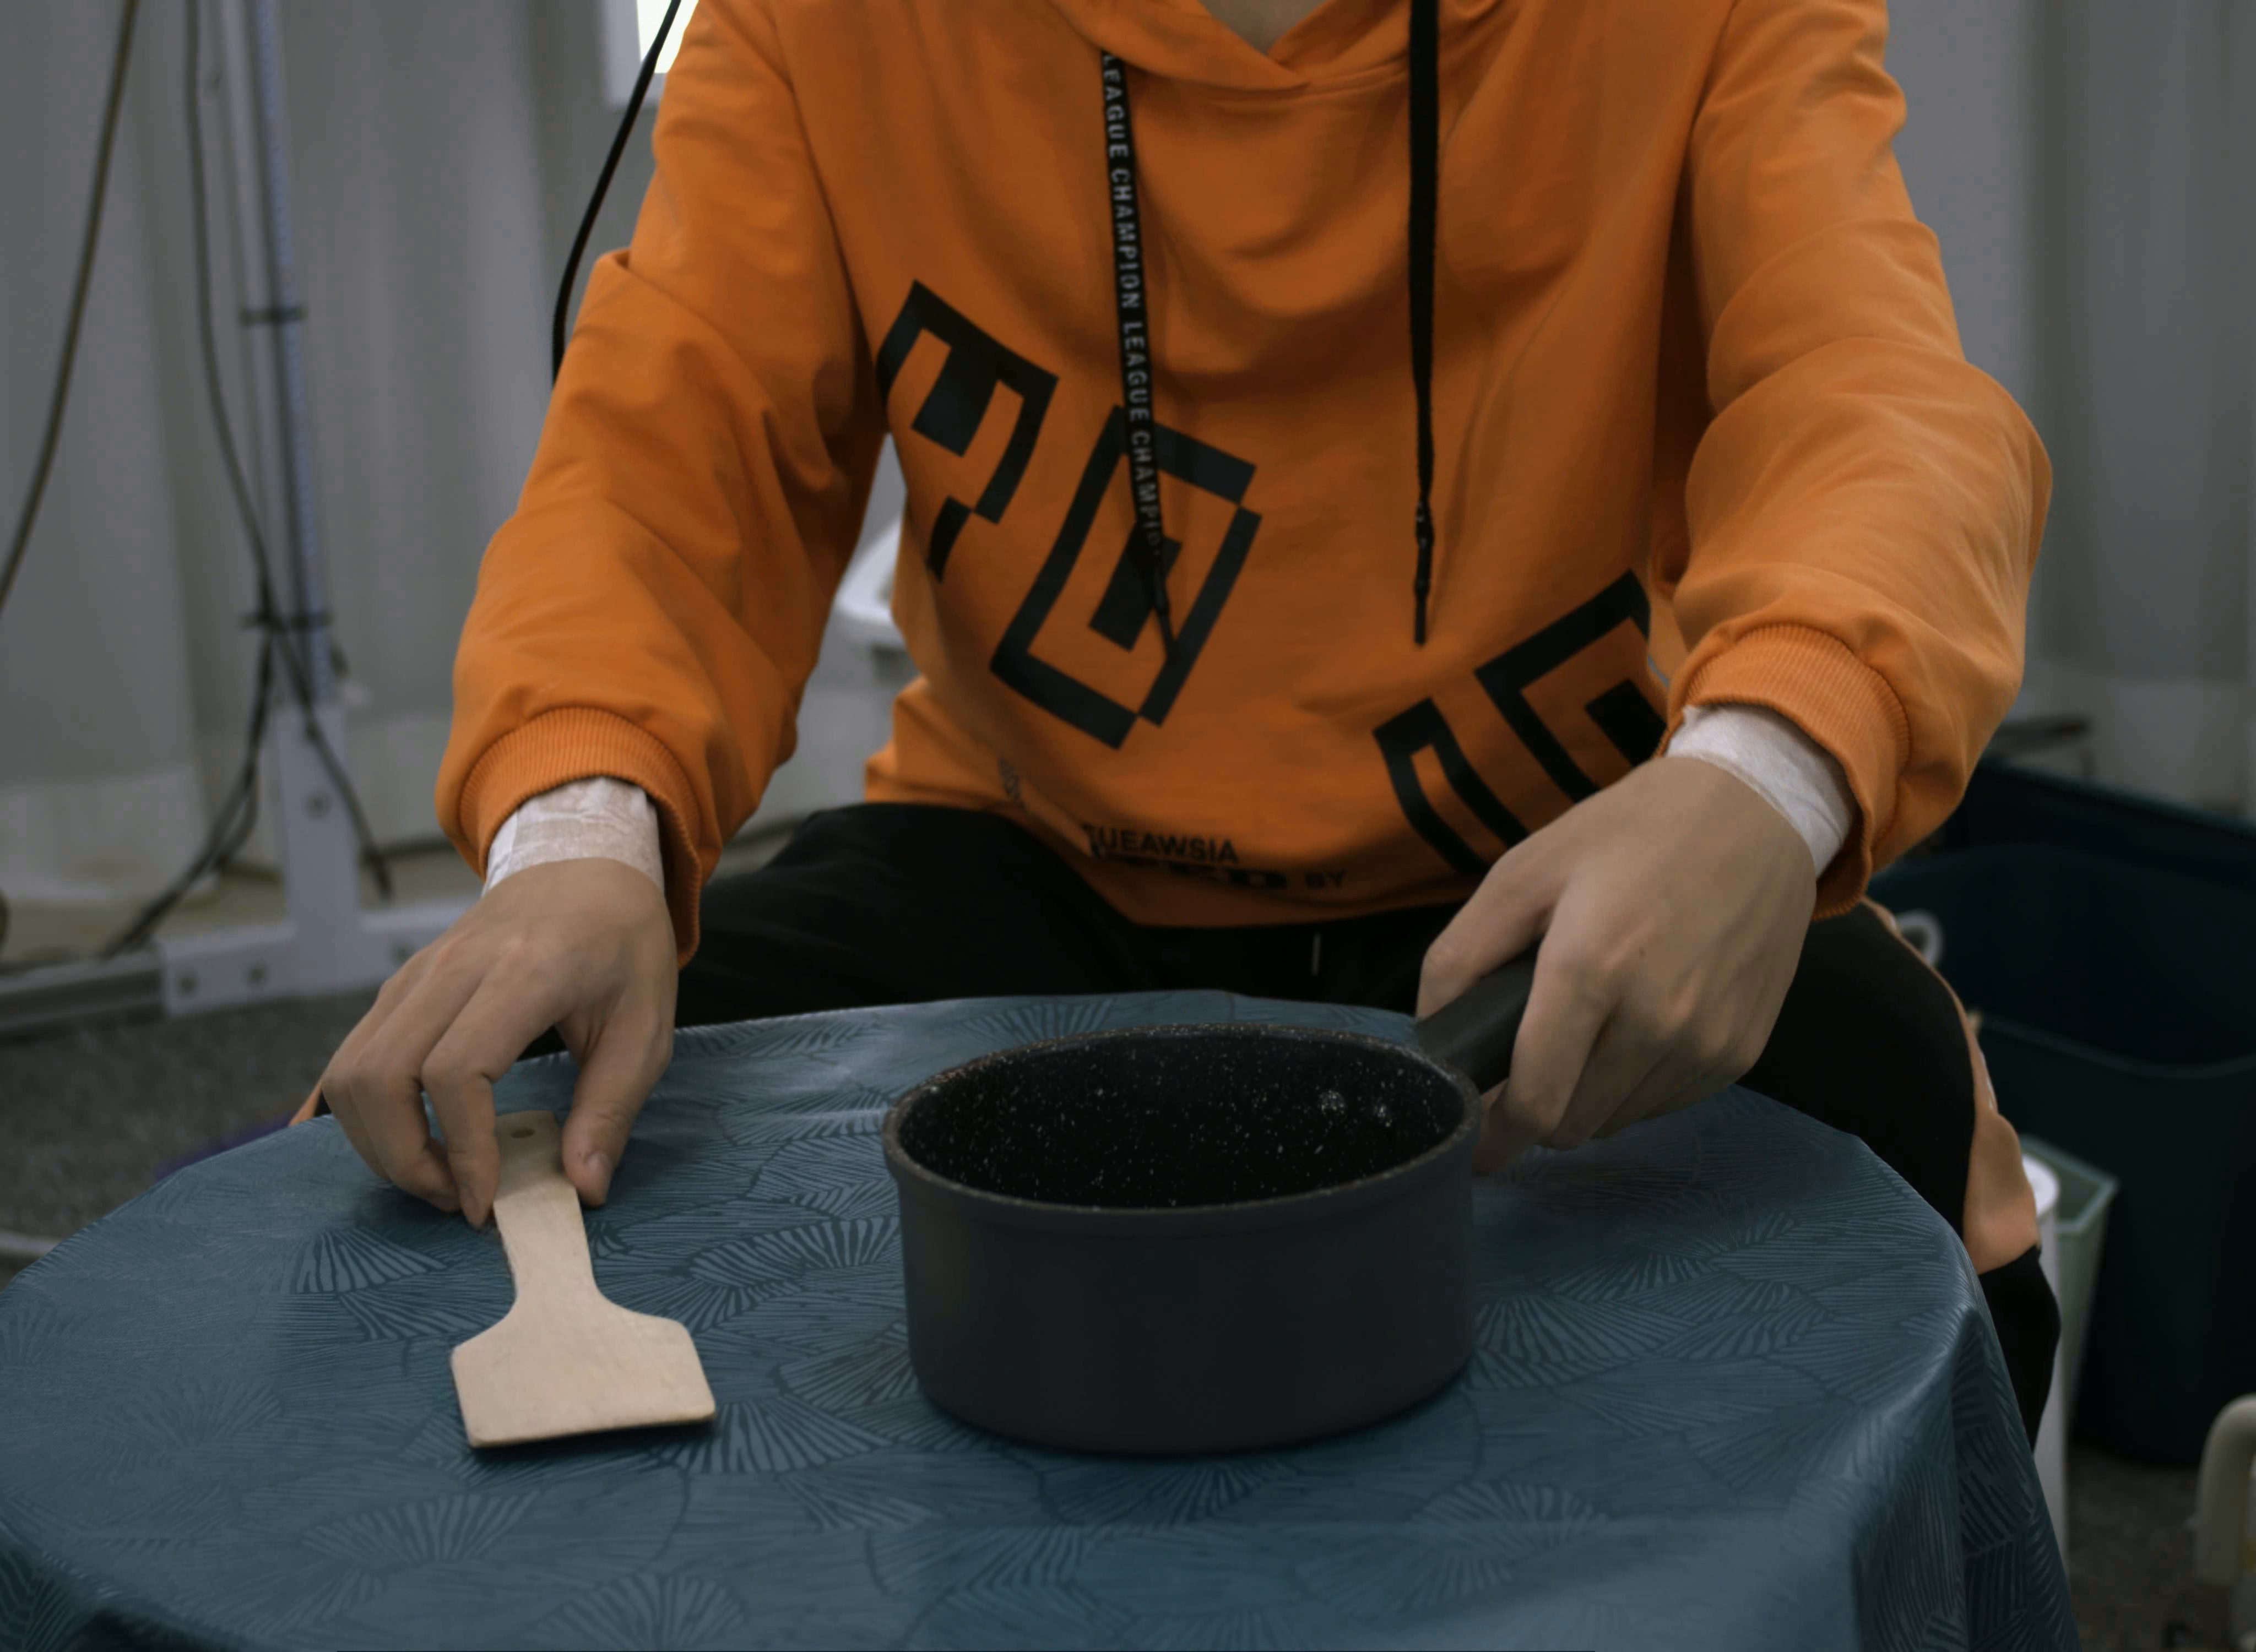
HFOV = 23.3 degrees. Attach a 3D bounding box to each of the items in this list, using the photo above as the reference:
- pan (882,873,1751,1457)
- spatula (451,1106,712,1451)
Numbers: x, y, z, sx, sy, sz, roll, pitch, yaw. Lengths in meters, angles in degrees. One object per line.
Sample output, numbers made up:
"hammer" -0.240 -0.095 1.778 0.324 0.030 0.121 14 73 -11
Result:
"pan" 0.071 0.096 1.611 0.173 0.086 0.328 12 23 42
"spatula" -0.176 0.134 1.660 0.072 0.010 0.295 -8 16 -8
